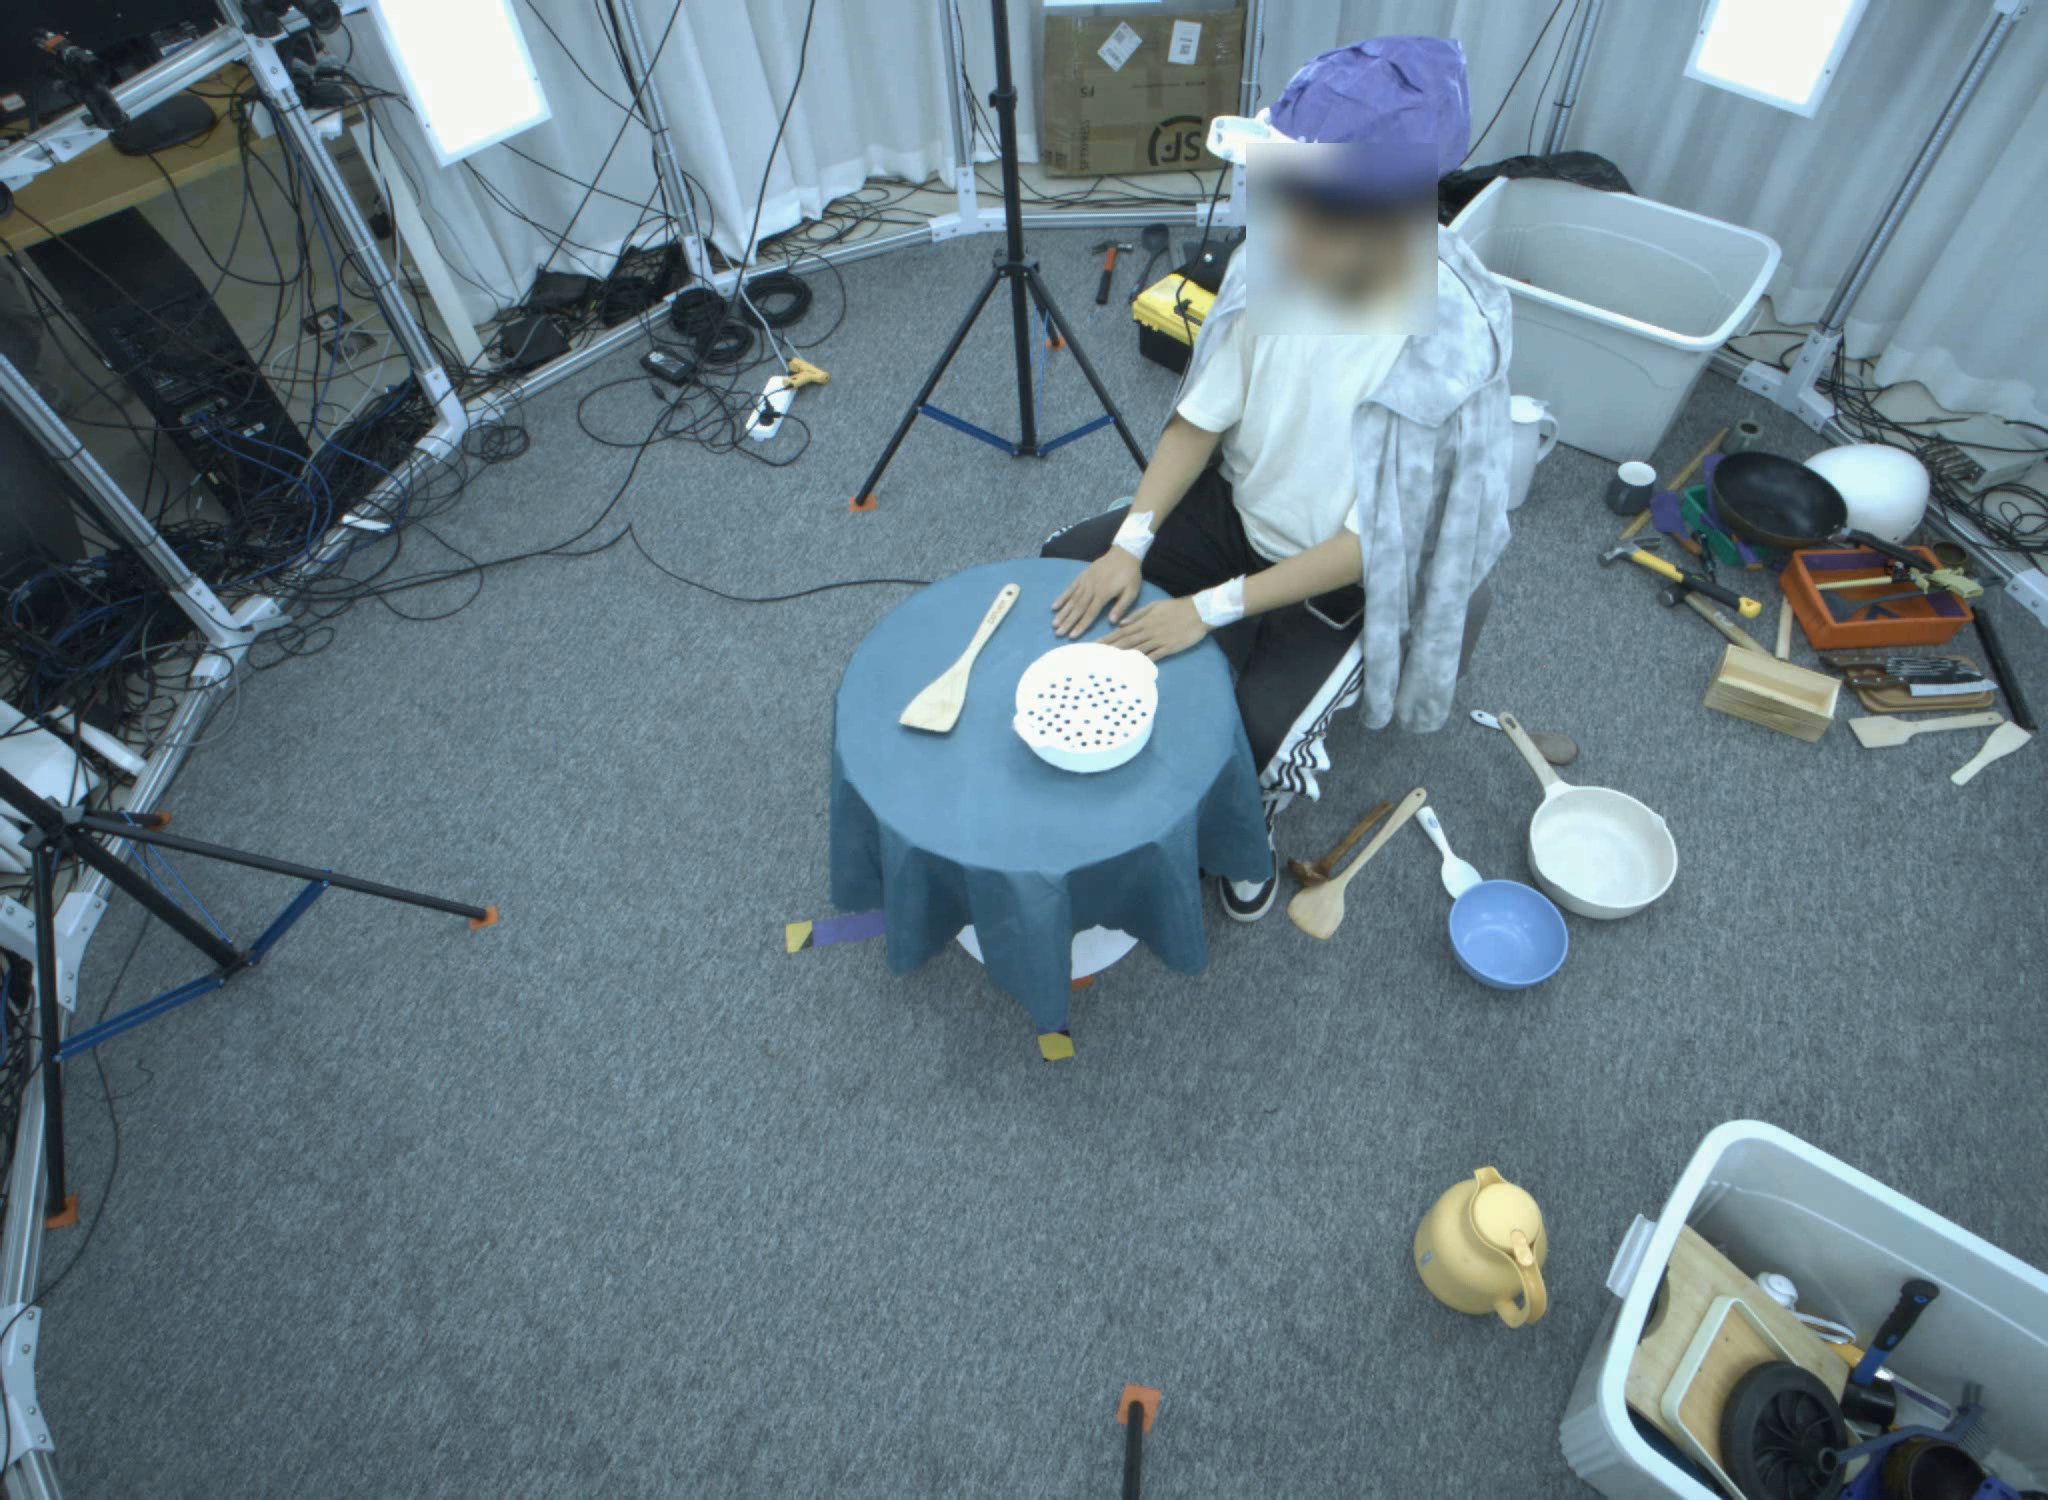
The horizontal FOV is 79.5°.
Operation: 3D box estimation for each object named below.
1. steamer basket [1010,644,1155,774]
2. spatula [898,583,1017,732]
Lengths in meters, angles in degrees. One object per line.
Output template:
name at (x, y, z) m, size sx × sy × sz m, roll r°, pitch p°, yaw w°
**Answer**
steamer basket at (0.086, -0.058, 1.787) m, size 0.232 × 0.070 × 0.198 m, roll -31°, pitch 61°, yaw -19°
spatula at (-0.086, -0.147, 1.885) m, size 0.079 × 0.017 × 0.328 m, roll 20°, pitch 58°, yaw 14°
